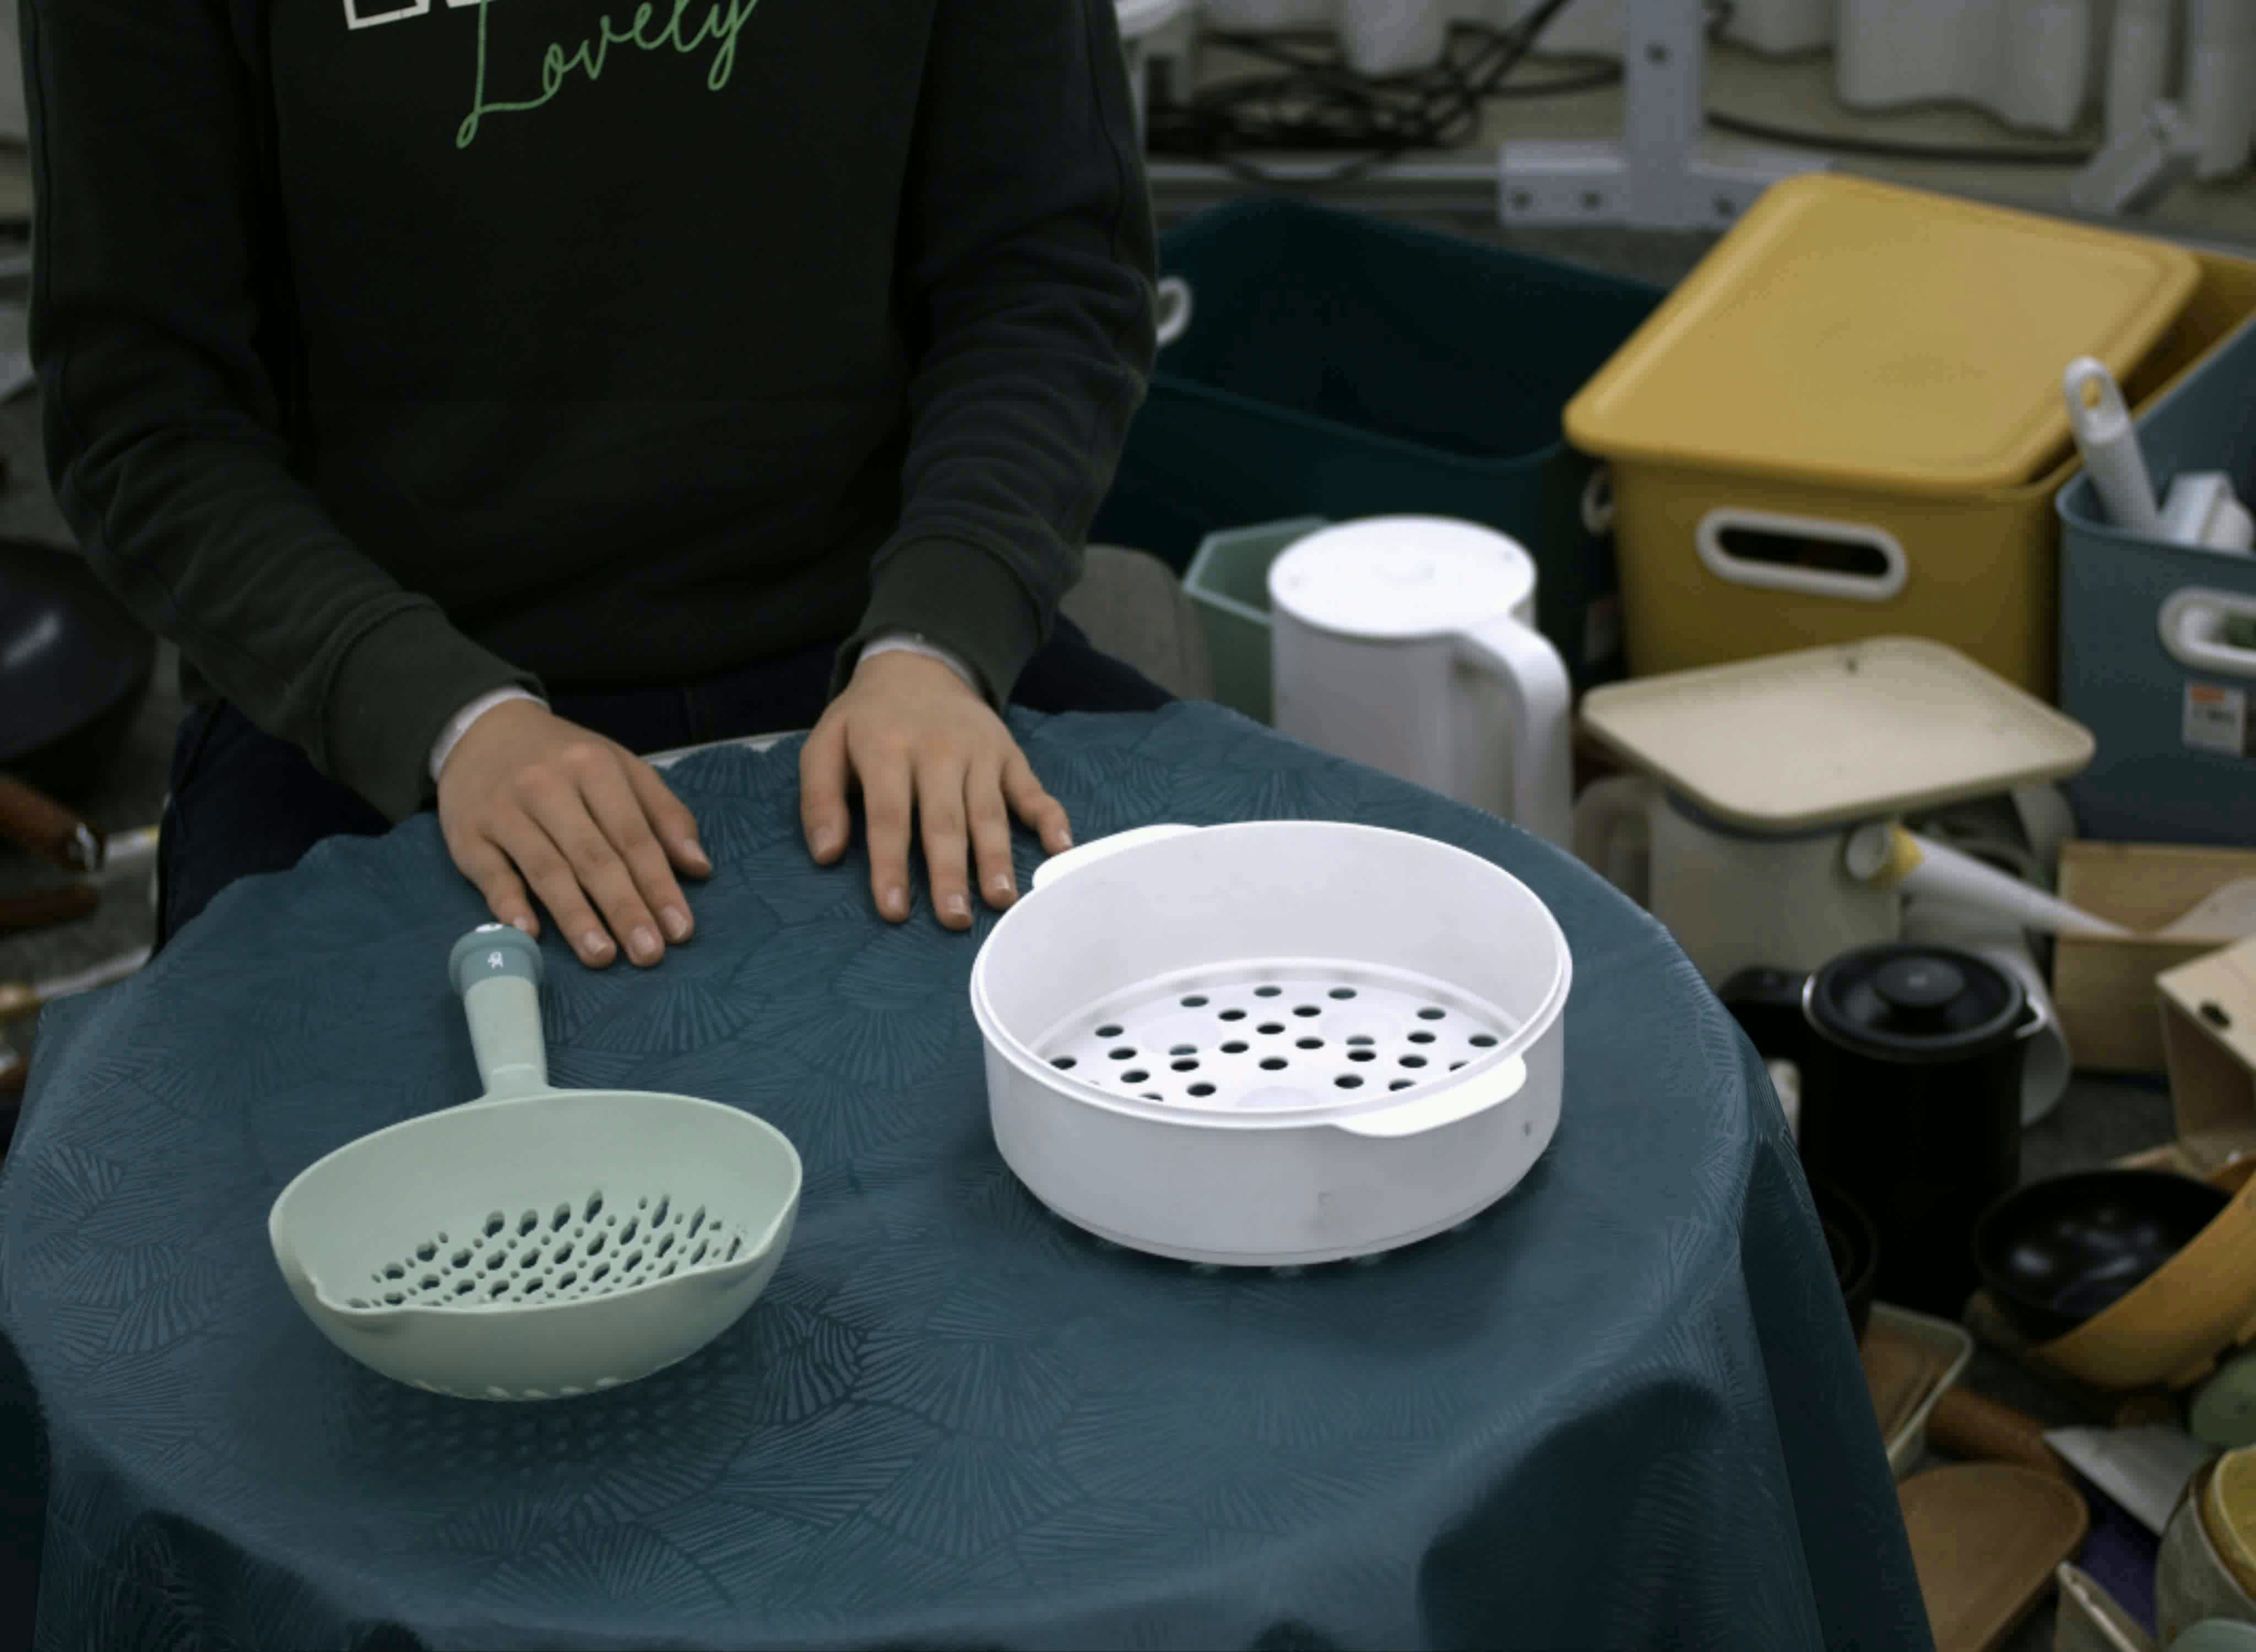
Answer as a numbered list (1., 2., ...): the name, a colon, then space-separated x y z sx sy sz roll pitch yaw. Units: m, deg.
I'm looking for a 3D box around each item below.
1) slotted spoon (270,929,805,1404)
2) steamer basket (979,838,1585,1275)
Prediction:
1. slotted spoon: -0.200 0.097 1.860 0.169 0.074 0.363 -6 27 -8
2. steamer basket: 0.052 0.077 1.873 0.203 0.068 0.231 -17 30 -28
